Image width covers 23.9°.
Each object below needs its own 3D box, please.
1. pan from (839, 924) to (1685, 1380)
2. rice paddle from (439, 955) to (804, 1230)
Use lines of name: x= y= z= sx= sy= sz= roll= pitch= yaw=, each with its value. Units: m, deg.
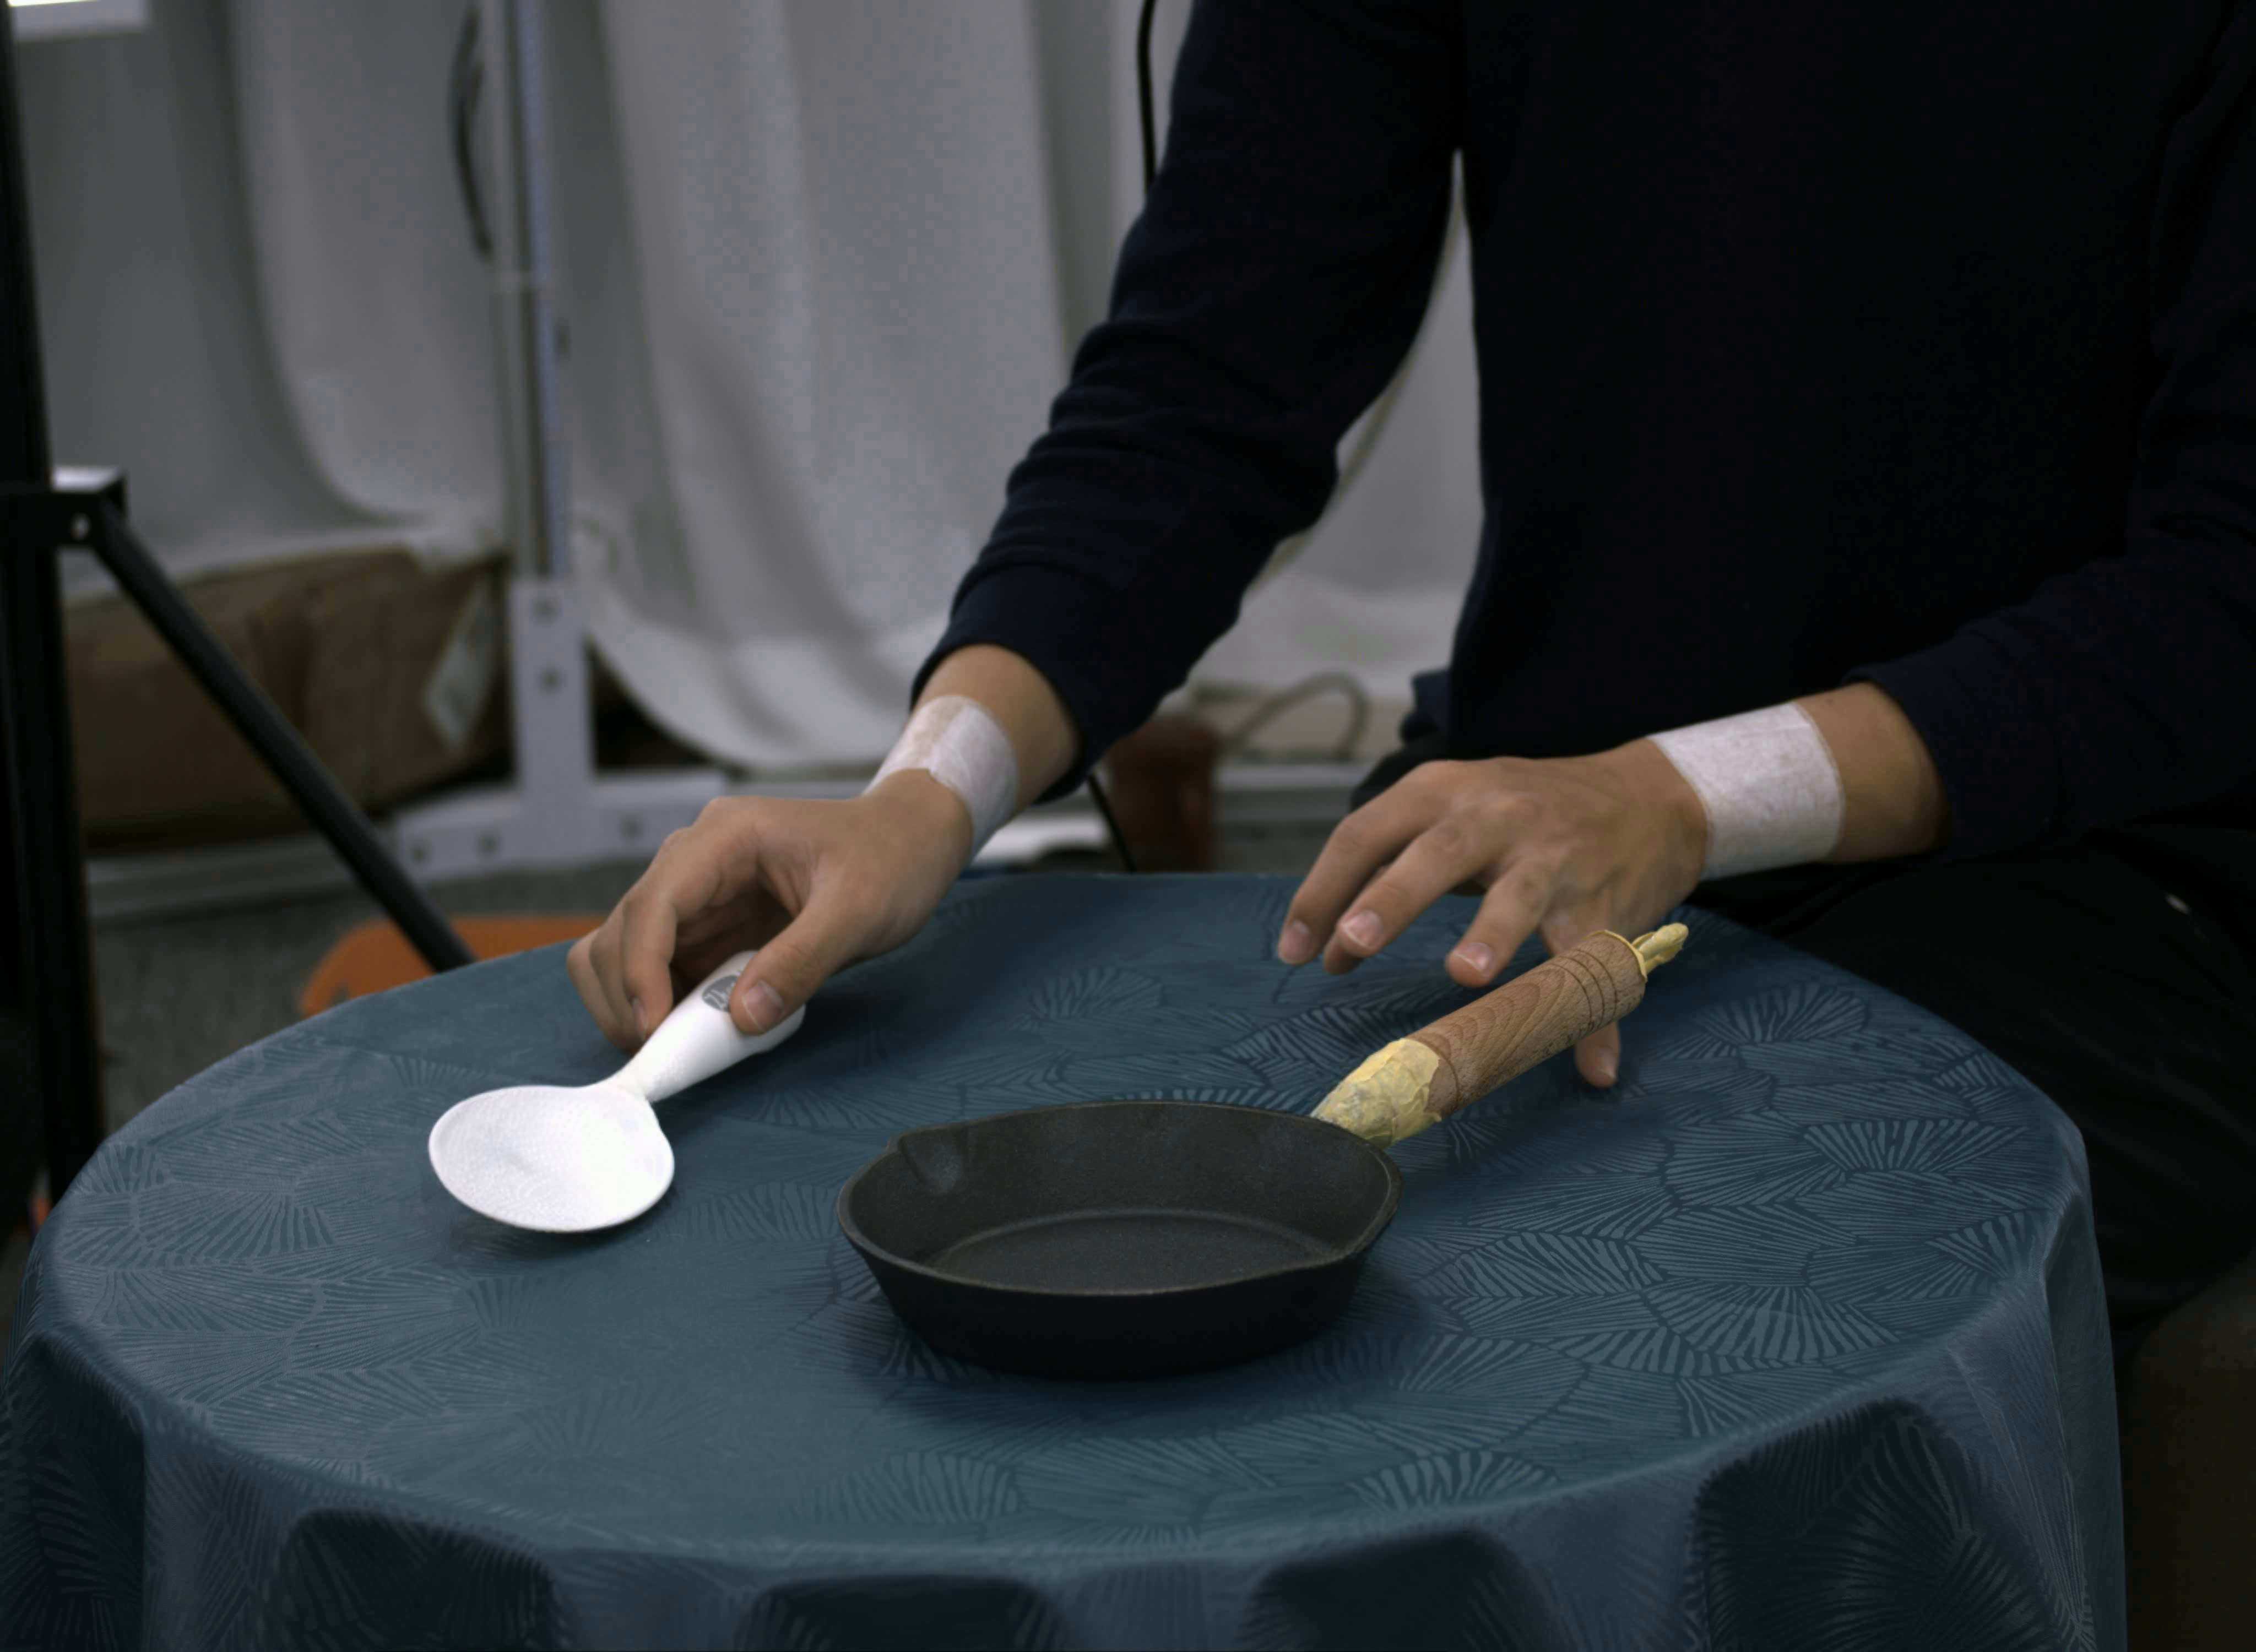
pan: x=0.057 y=0.089 z=1.521 sx=0.317 sy=0.049 sz=0.173 roll=-19 pitch=22 yaw=-41
rice paddle: x=-0.148 y=0.082 z=1.618 sx=0.069 sy=0.029 sz=0.203 roll=23 pitch=21 yaw=12
